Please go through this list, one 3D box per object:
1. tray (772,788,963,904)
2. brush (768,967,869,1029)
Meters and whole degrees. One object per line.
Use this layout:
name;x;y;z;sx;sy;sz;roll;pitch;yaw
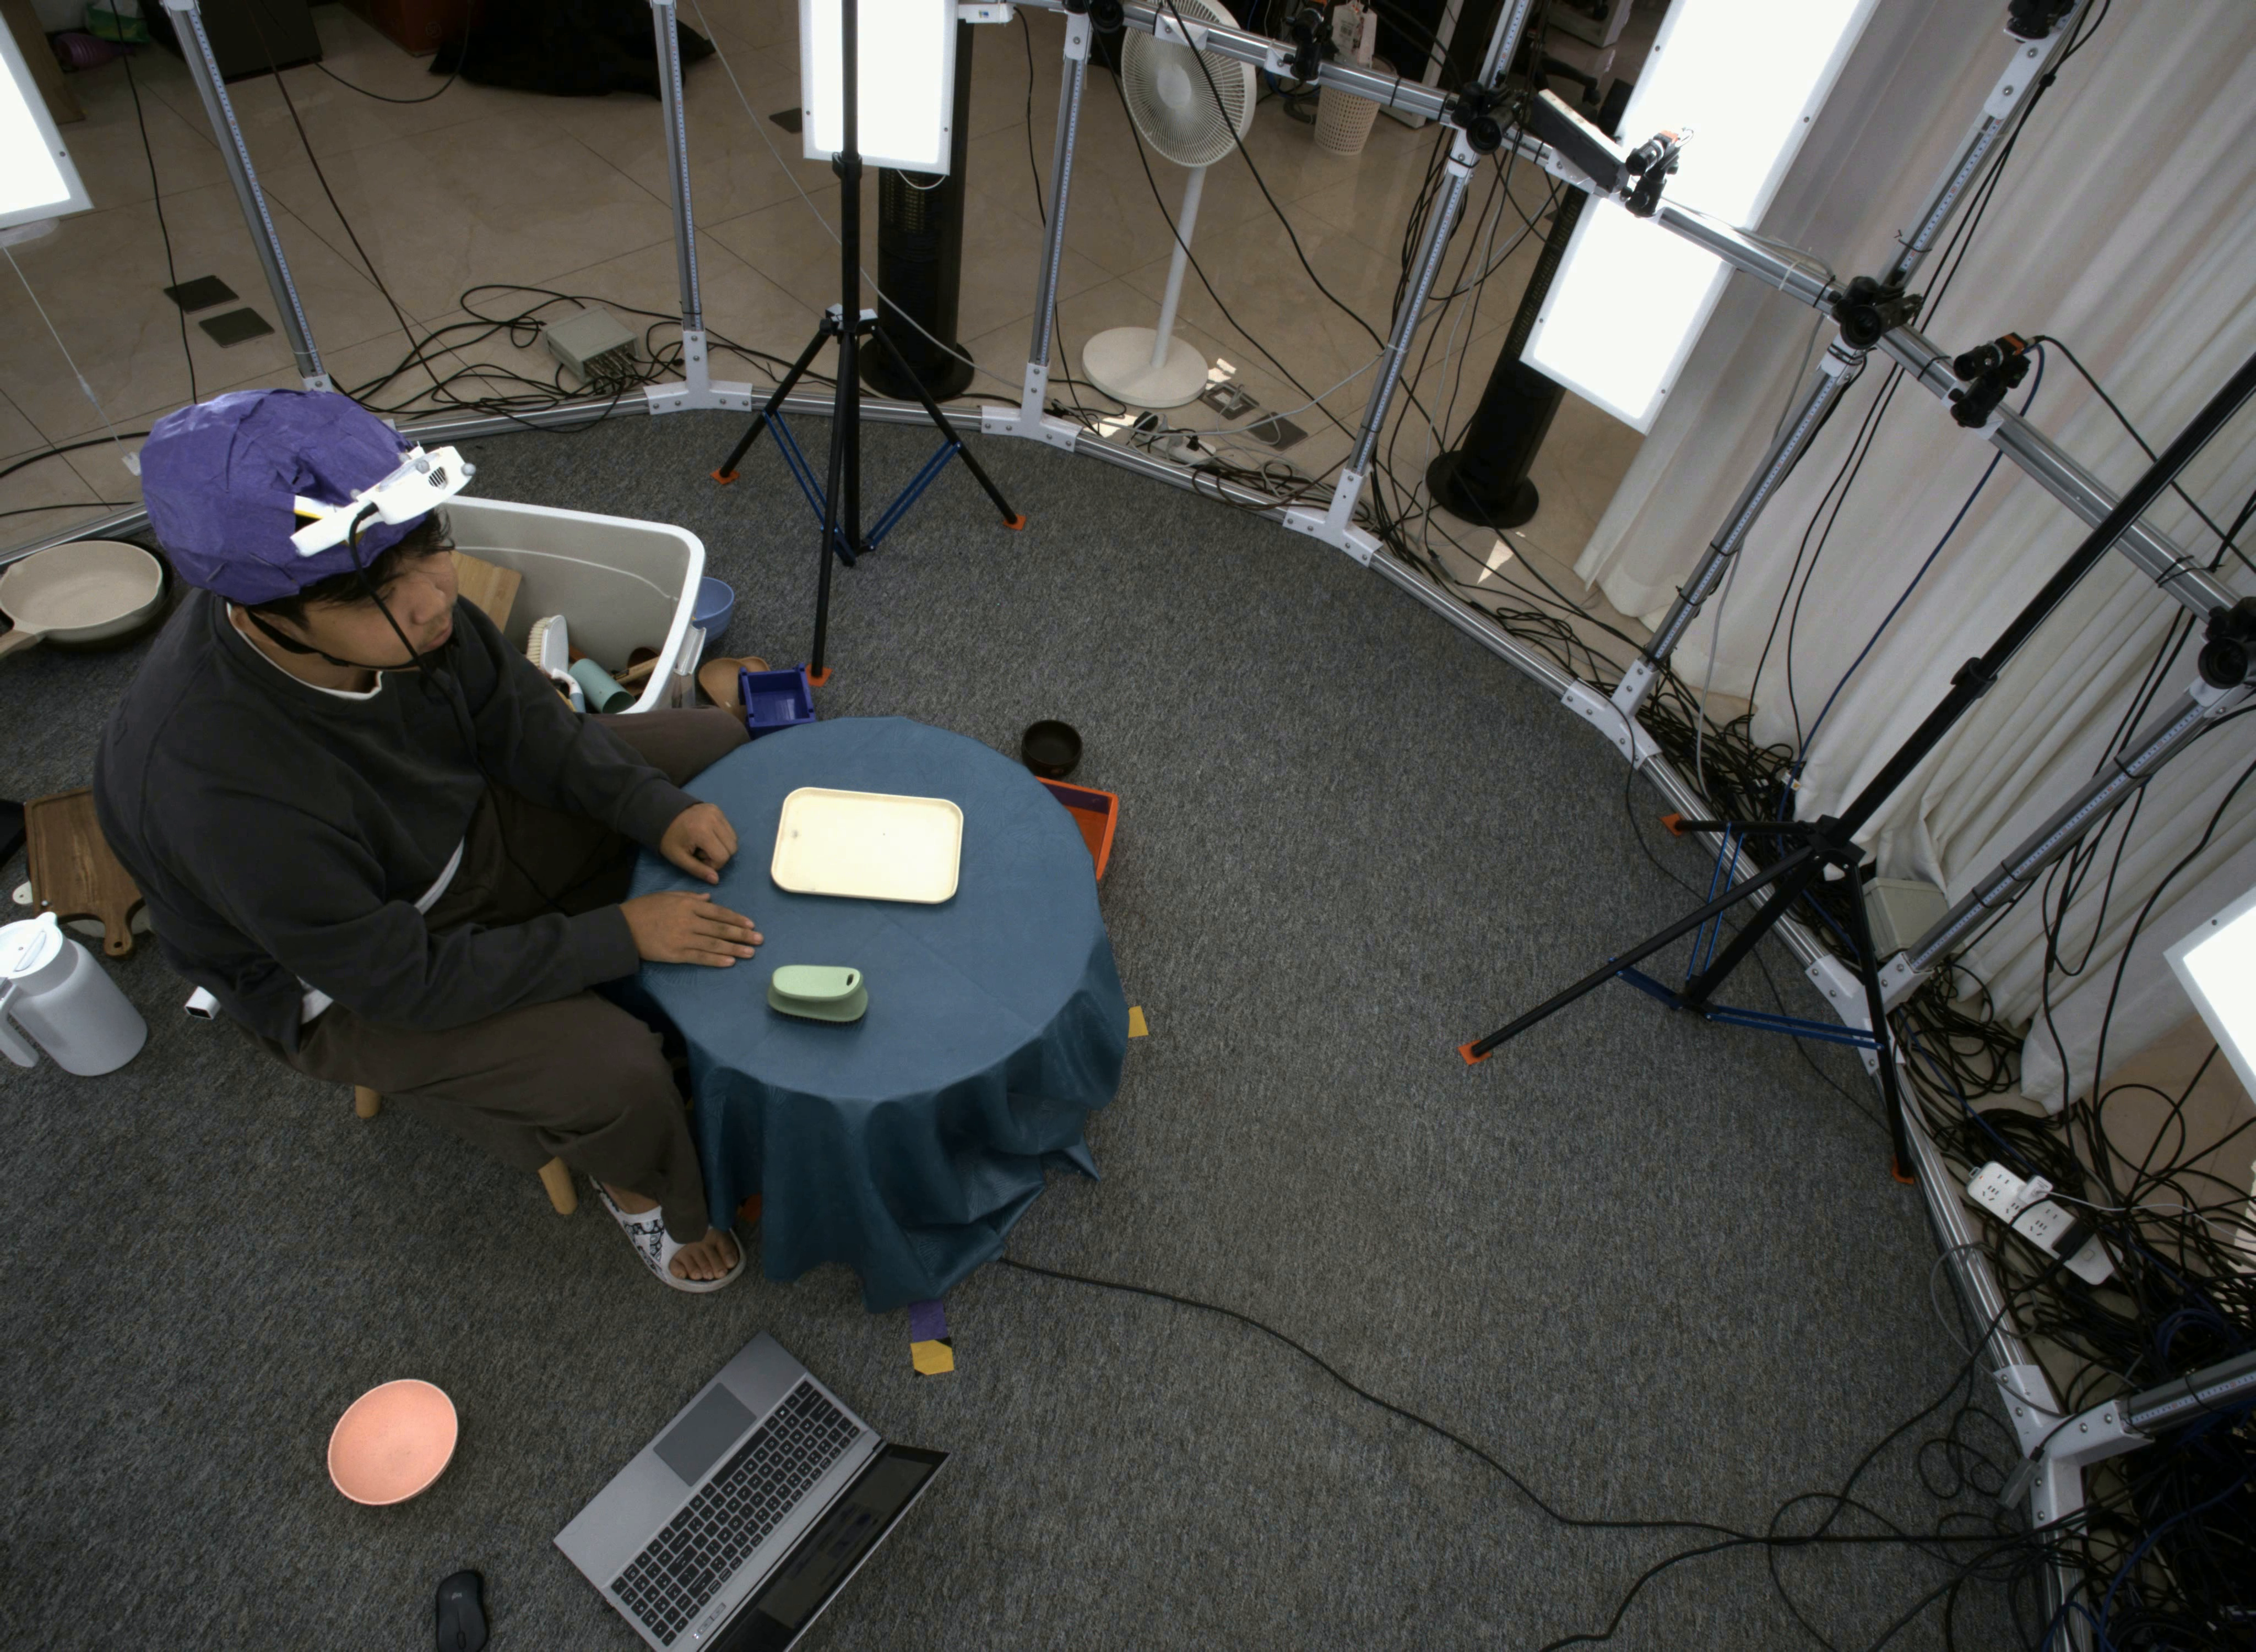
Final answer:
tray;-0.339;0.026;1.710;0.239;0.018;0.168;6;52;-10
brush;-0.368;0.201;1.549;0.121;0.078;0.058;0;51;4
